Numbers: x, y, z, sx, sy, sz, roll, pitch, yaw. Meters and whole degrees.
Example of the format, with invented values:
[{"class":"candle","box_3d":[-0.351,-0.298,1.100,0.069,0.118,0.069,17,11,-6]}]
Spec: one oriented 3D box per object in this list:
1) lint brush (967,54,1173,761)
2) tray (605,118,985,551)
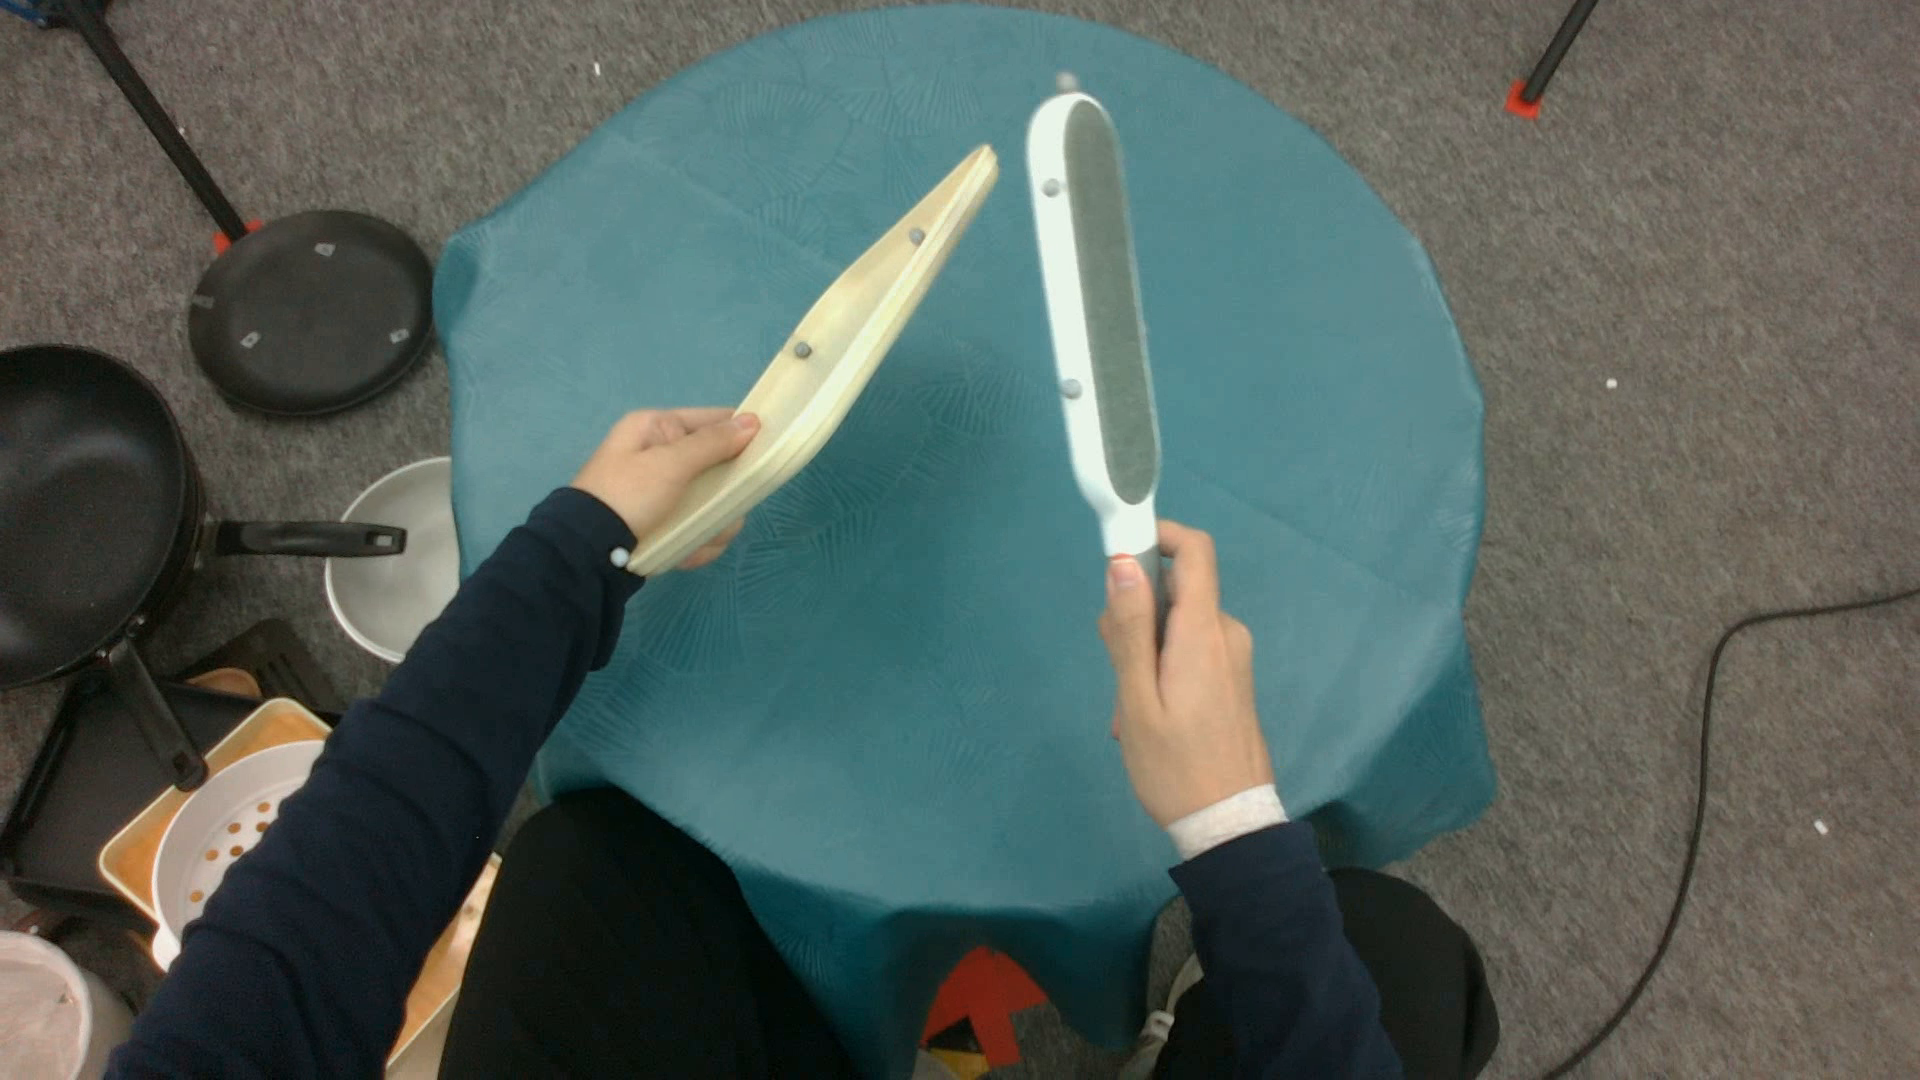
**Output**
[{"class":"lint brush","box_3d":[0.051,-0.049,0.584,0.021,0.060,0.308,-7,103,29]},{"class":"tray","box_3d":[-0.073,-0.097,0.649,0.017,0.170,0.241,42,49,-19]}]
